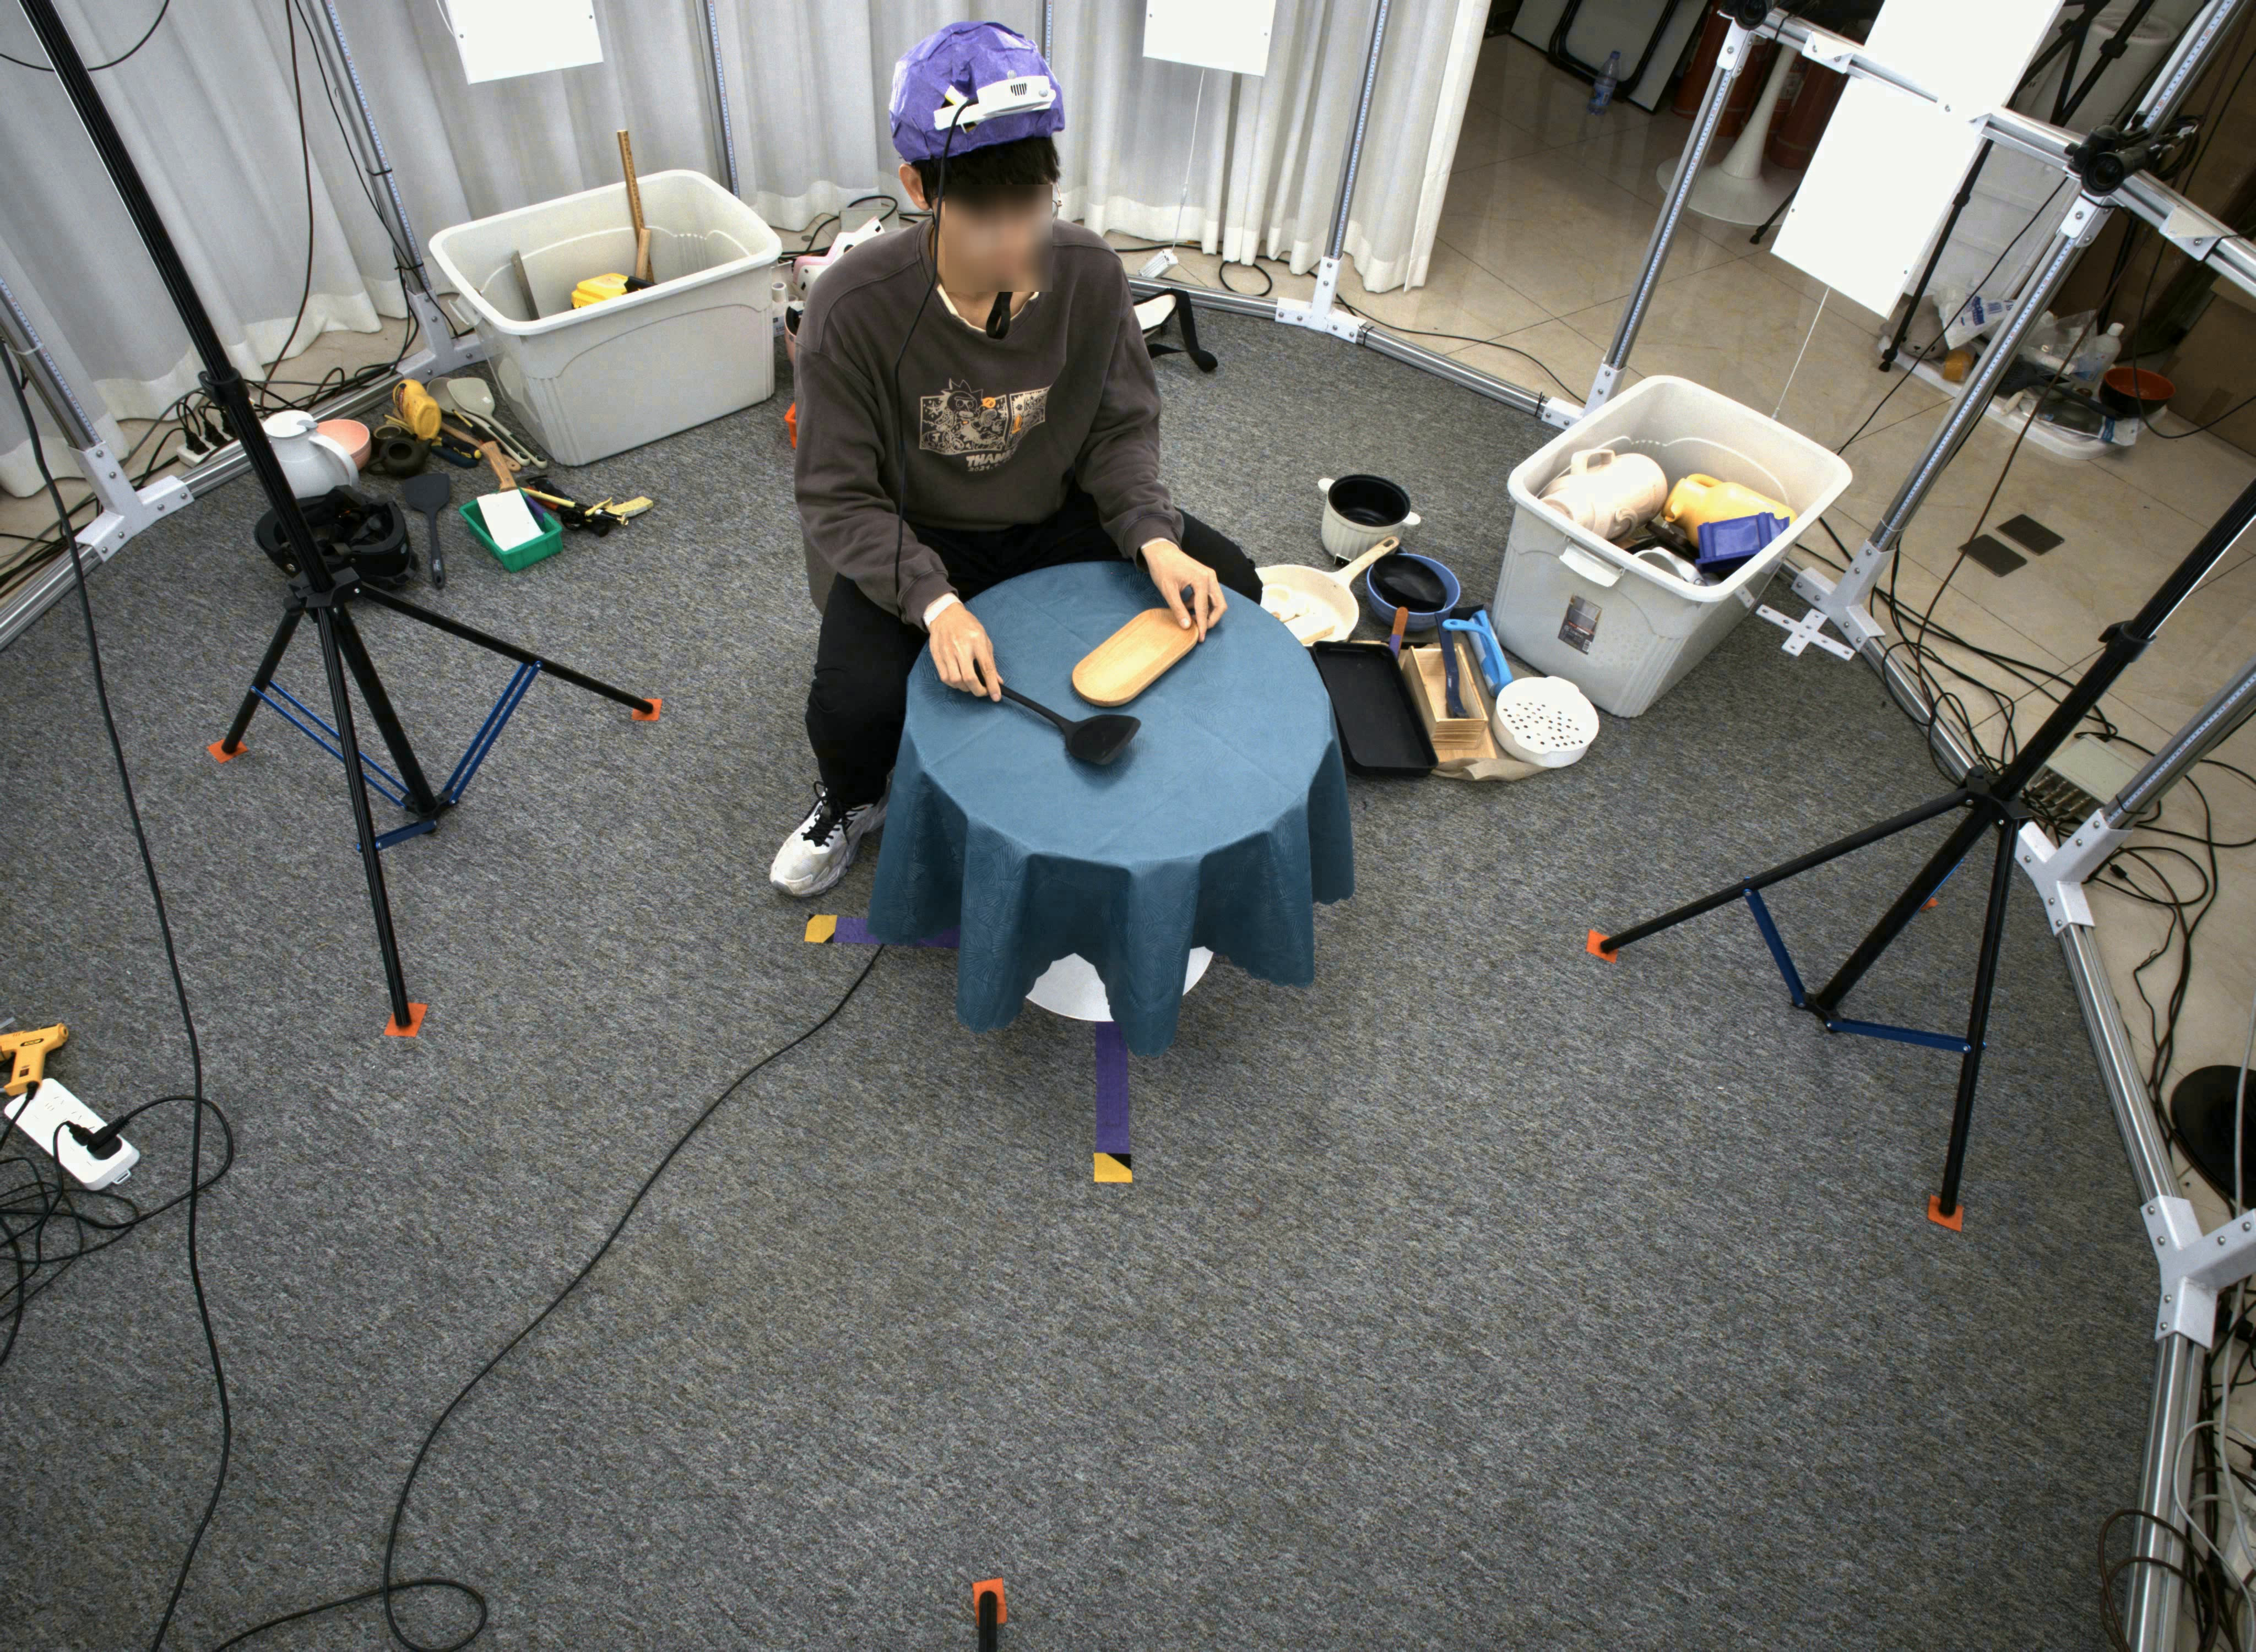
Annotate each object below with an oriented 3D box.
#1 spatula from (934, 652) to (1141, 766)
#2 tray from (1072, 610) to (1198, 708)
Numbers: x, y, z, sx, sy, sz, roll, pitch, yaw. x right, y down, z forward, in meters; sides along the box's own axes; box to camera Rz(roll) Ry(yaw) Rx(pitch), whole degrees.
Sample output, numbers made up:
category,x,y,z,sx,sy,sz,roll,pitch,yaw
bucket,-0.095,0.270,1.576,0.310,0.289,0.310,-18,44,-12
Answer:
category,x,y,z,sx,sy,sz,roll,pitch,yaw
spatula,-0.138,-0.175,1.780,0.329,0.039,0.101,30,55,17
tray,0.012,-0.244,1.867,0.103,0.020,0.234,30,55,25
